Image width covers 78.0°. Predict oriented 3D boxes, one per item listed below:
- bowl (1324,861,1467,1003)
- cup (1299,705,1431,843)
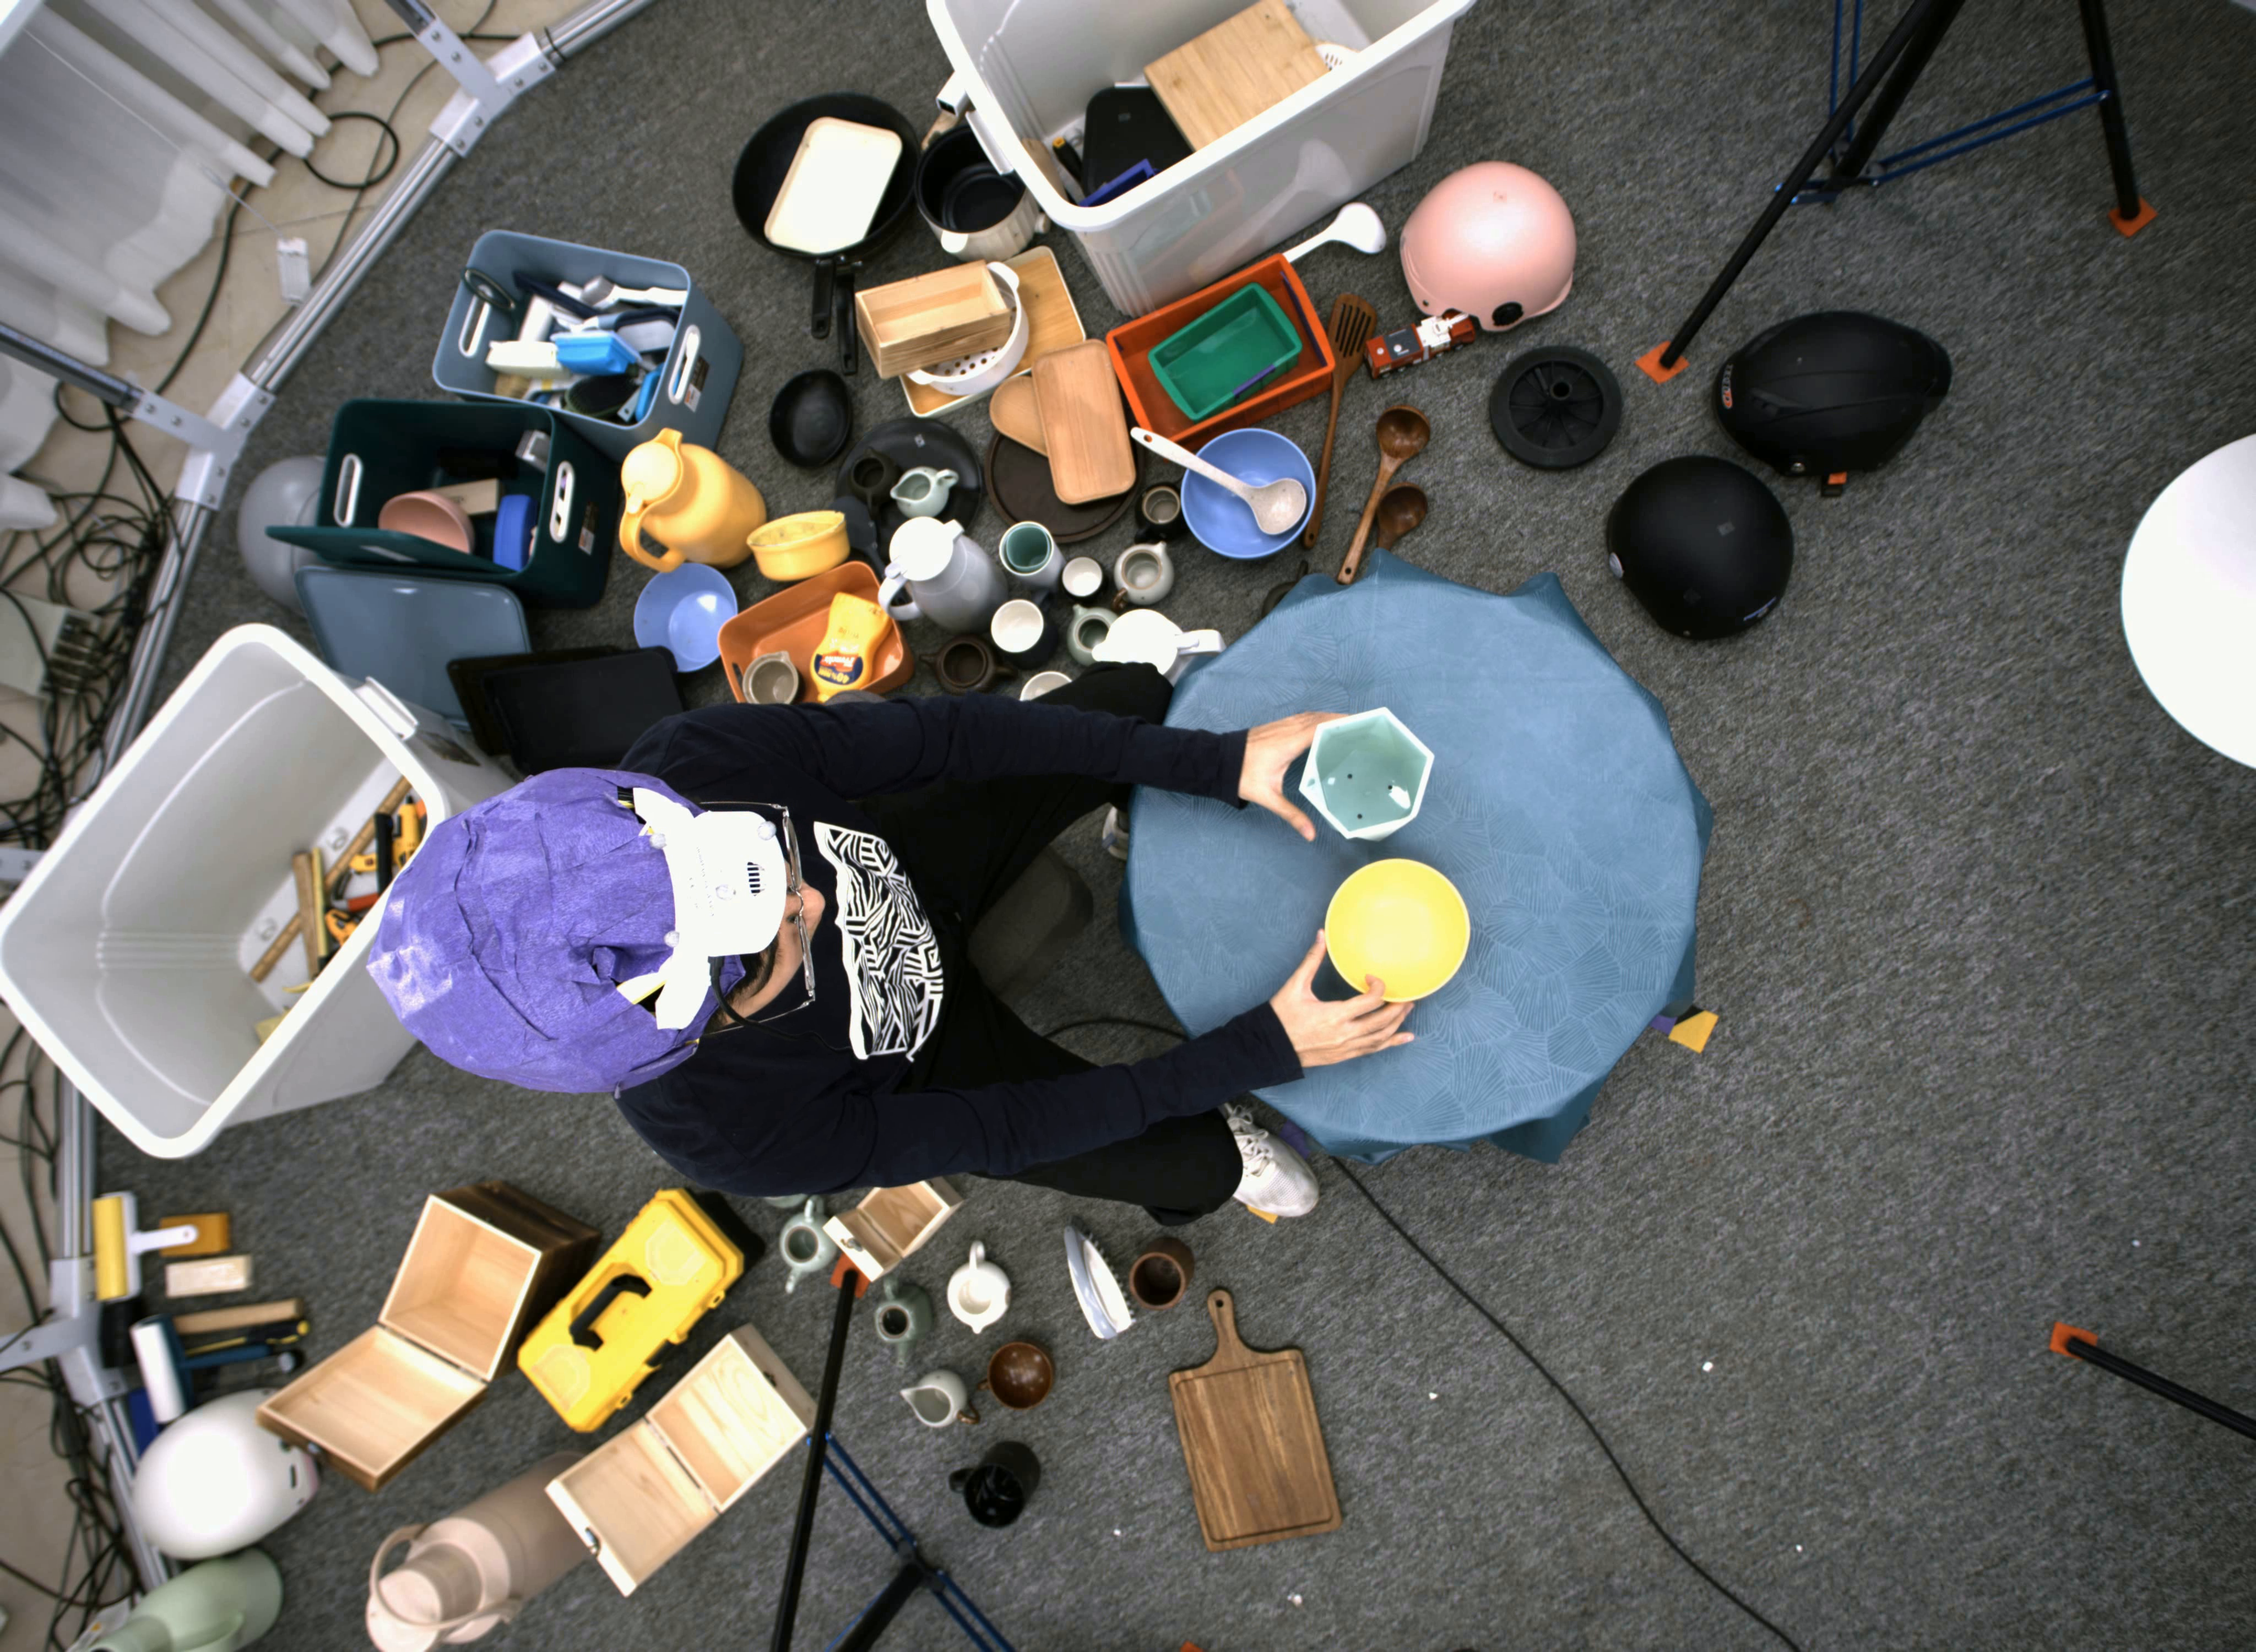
[{"bbox_3d":[0.276,0.110,1.428,0.146,0.060,0.144,-1,84,11],"label":"bowl"},{"bbox_3d":[0.241,-0.044,1.388,0.115,0.163,0.130,13,86,13],"label":"cup"}]
